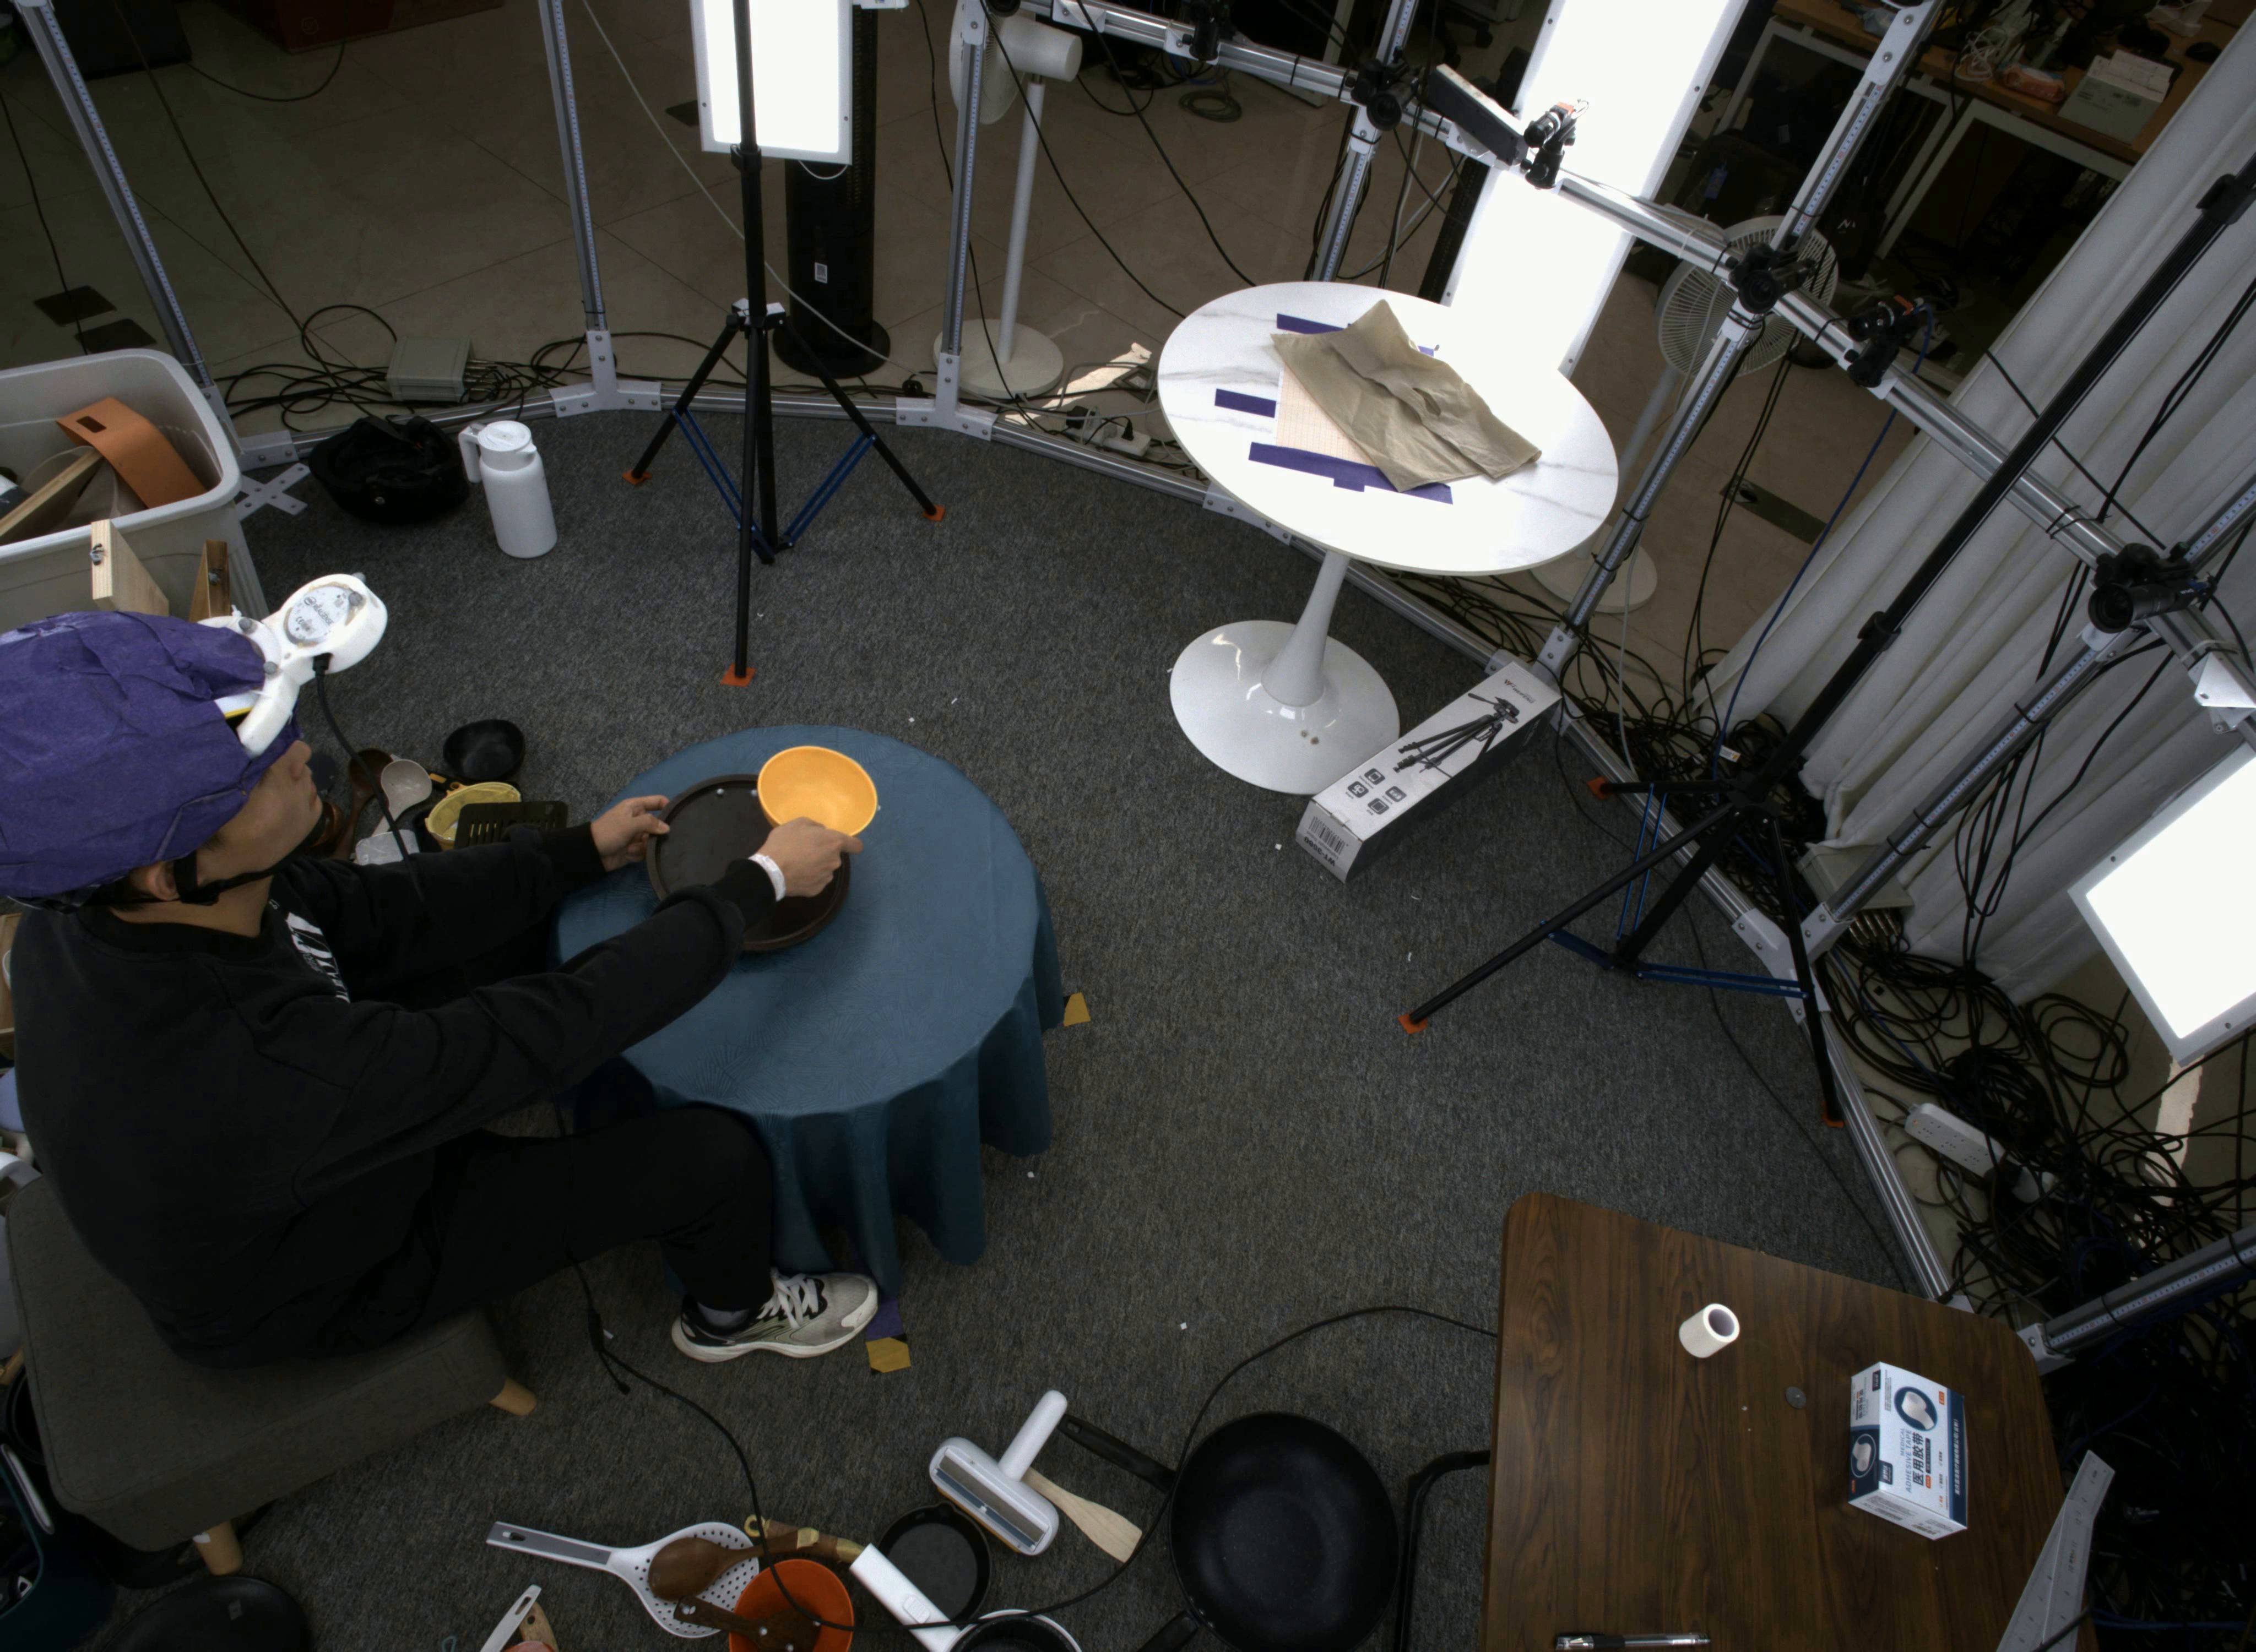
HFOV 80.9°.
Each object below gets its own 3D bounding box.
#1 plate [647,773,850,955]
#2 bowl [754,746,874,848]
[{"bbox_3d":[-0.477,0.045,1.633,0.258,0.029,0.251,14,58,-21],"label":"plate"},{"bbox_3d":[-0.389,-0.025,1.592,0.146,0.061,0.142,14,50,-15],"label":"bowl"}]
